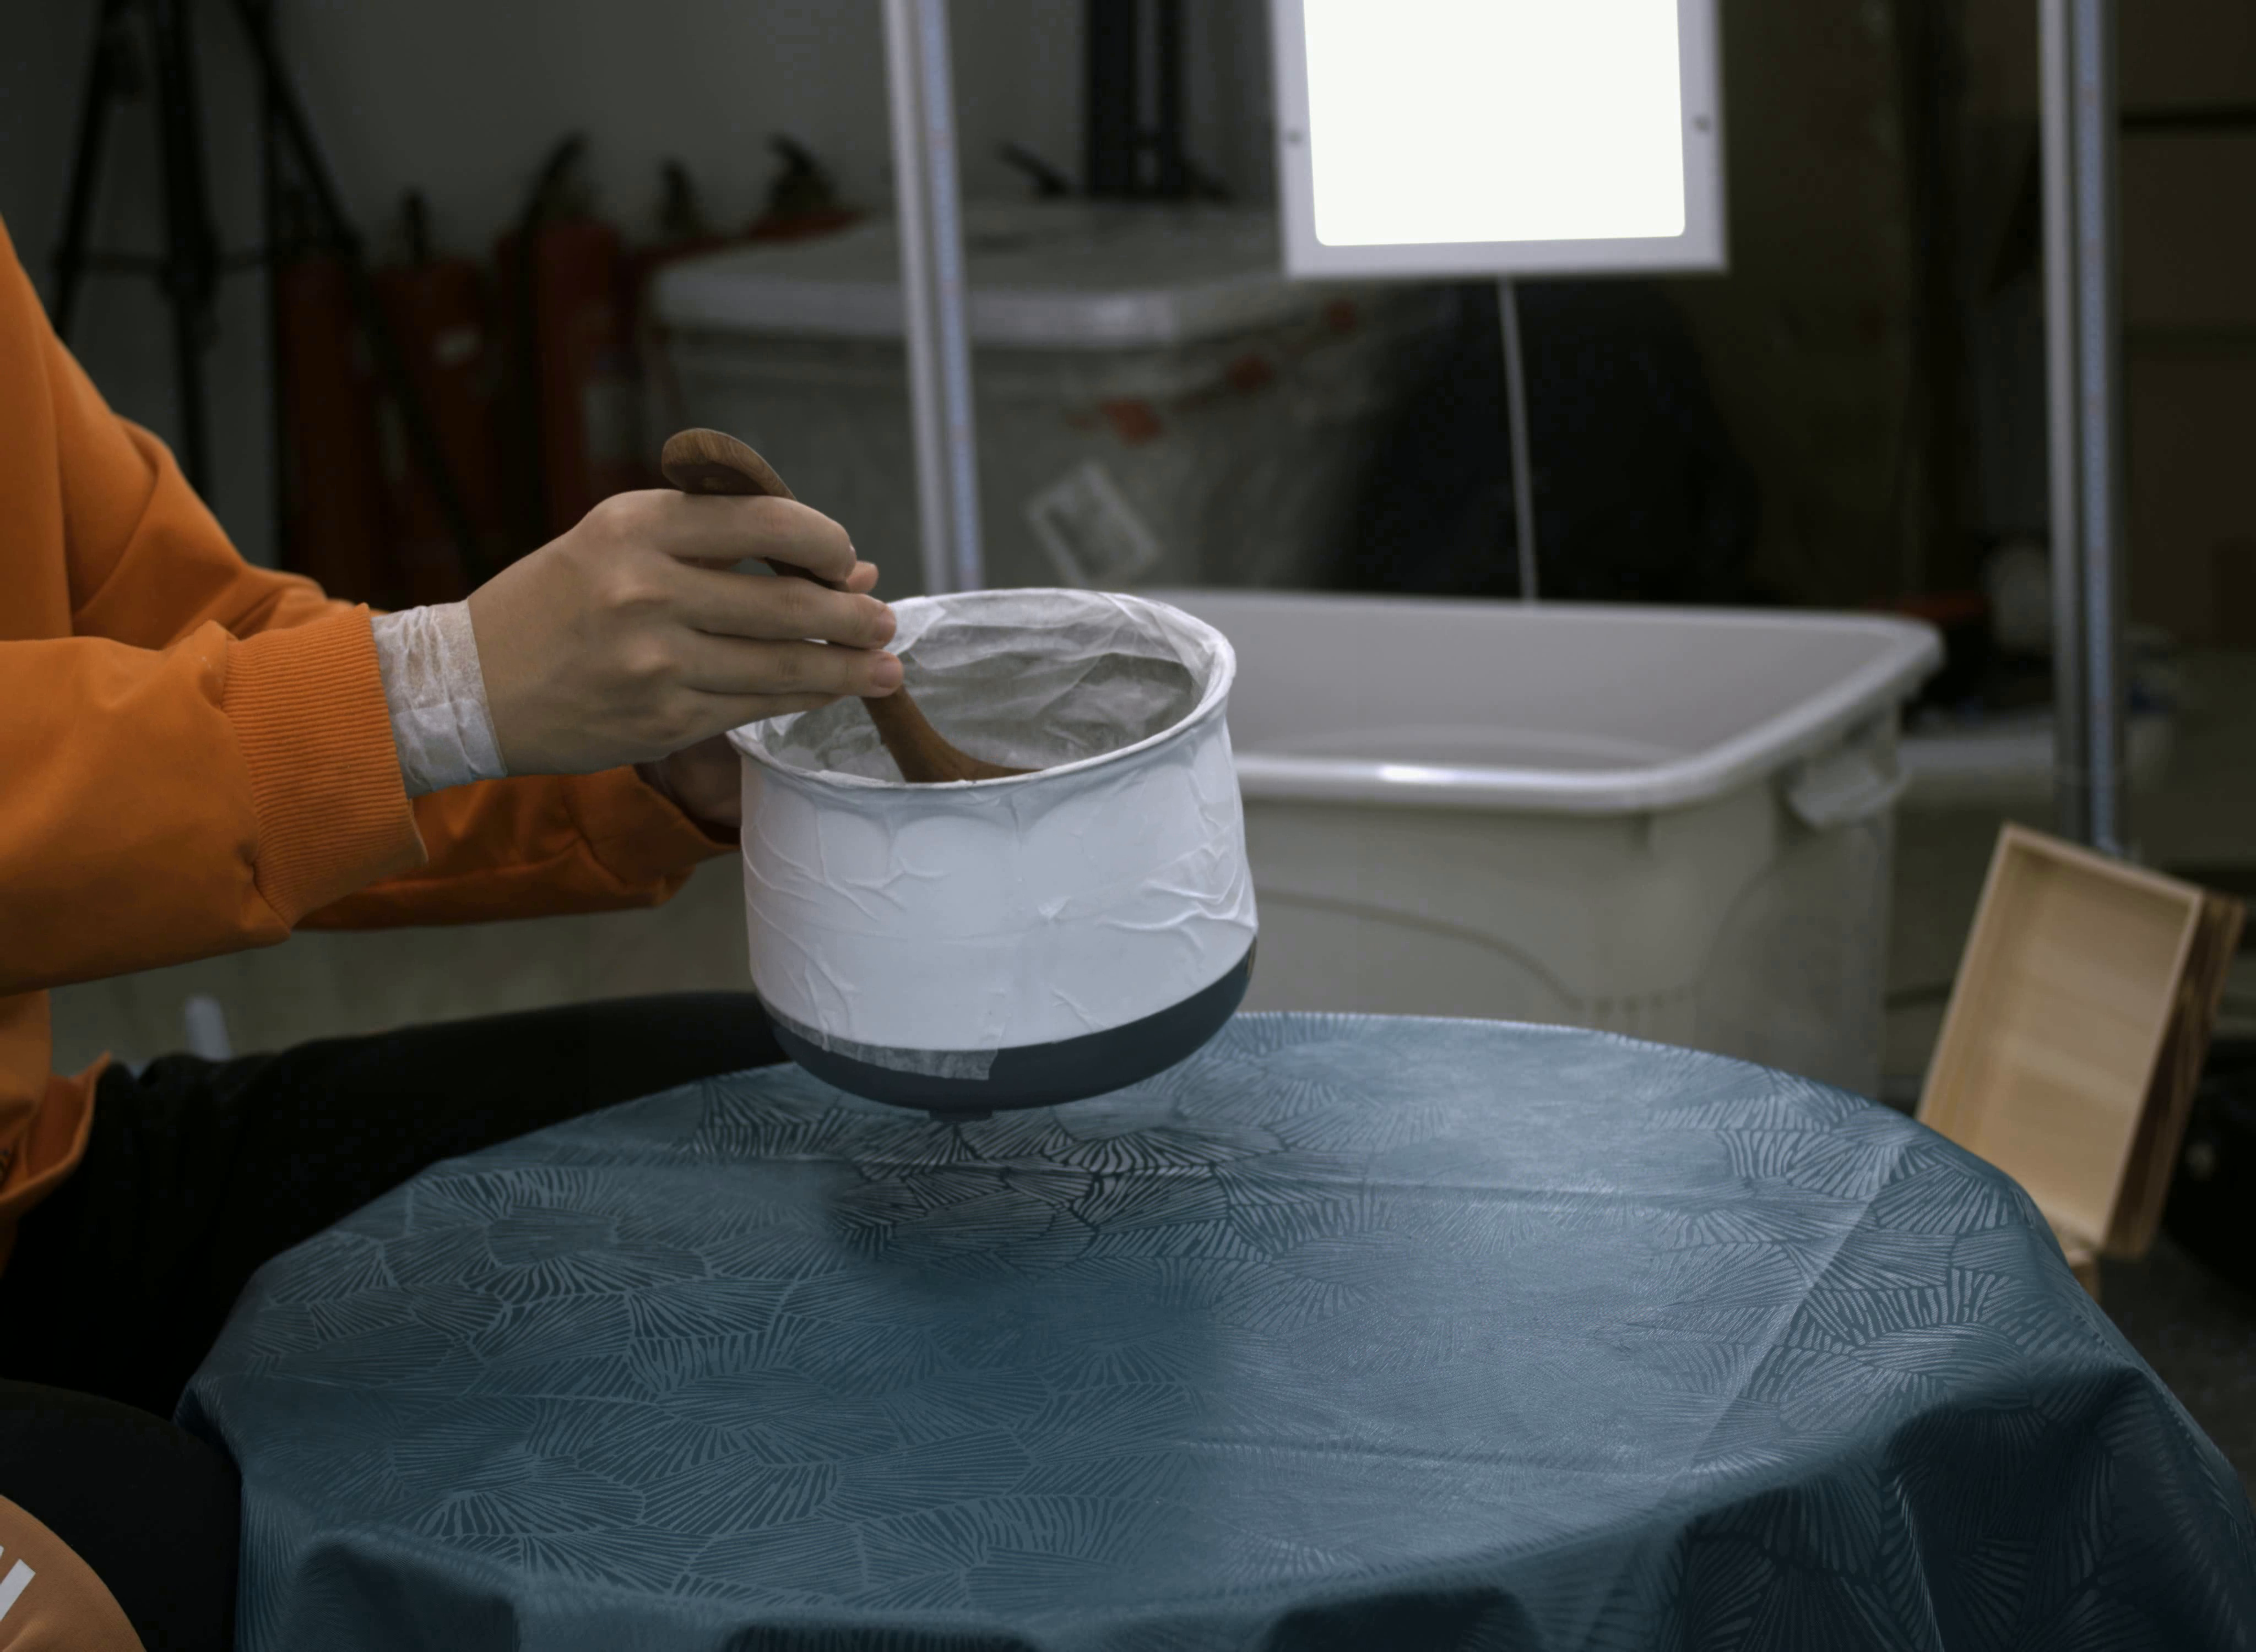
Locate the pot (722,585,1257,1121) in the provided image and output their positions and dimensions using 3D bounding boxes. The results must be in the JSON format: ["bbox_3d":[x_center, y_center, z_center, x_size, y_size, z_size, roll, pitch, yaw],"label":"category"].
[{"bbox_3d":[-0.061,0.001,1.912,0.175,0.137,0.238,-18,26,-27],"label":"pot"}]

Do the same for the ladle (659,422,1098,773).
[{"bbox_3d":[-0.083,-0.066,1.847,0.078,0.257,0.065,-18,44,22],"label":"ladle"}]
